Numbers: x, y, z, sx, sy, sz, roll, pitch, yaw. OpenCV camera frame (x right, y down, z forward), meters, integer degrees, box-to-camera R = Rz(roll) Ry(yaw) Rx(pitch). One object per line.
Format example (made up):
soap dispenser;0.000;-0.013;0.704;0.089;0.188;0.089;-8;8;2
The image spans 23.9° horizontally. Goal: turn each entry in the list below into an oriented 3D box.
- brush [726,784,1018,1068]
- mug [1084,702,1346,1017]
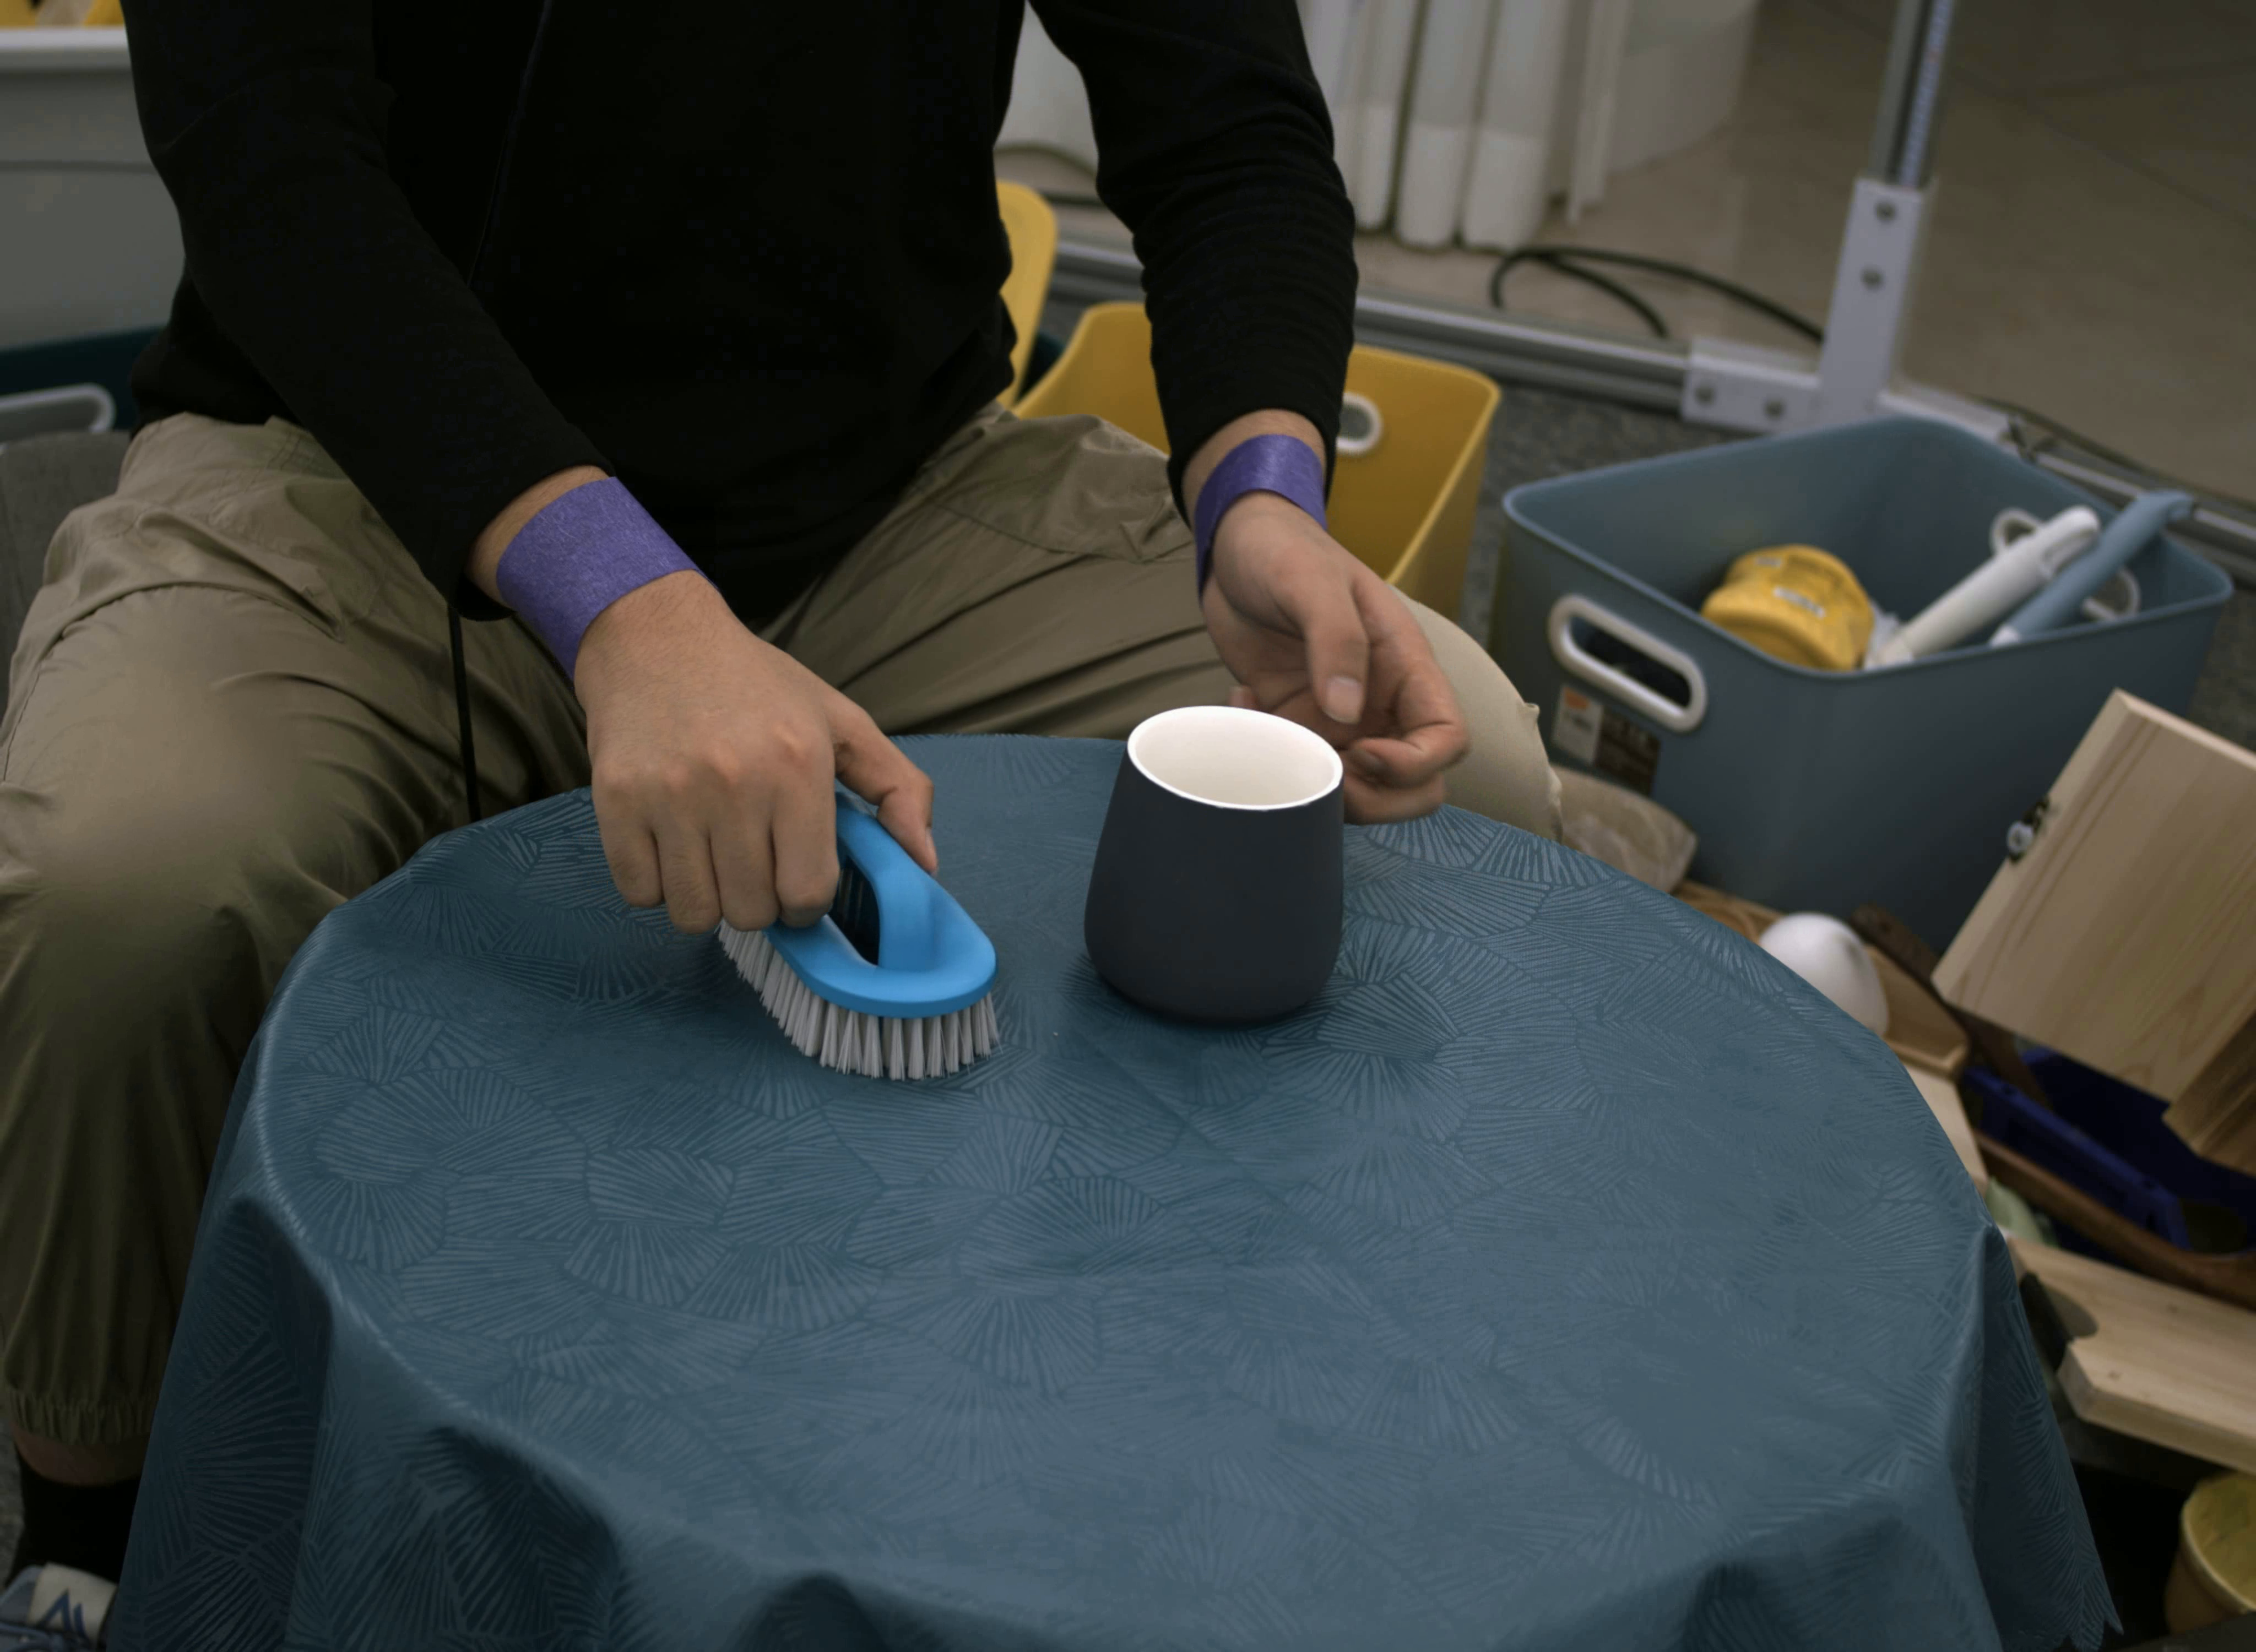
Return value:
brush;-0.093;0.027;1.897;0.084;0.063;0.143;-10;30;-21
mug;0.030;0.005;1.935;0.093;0.089;0.124;-1;30;-17
